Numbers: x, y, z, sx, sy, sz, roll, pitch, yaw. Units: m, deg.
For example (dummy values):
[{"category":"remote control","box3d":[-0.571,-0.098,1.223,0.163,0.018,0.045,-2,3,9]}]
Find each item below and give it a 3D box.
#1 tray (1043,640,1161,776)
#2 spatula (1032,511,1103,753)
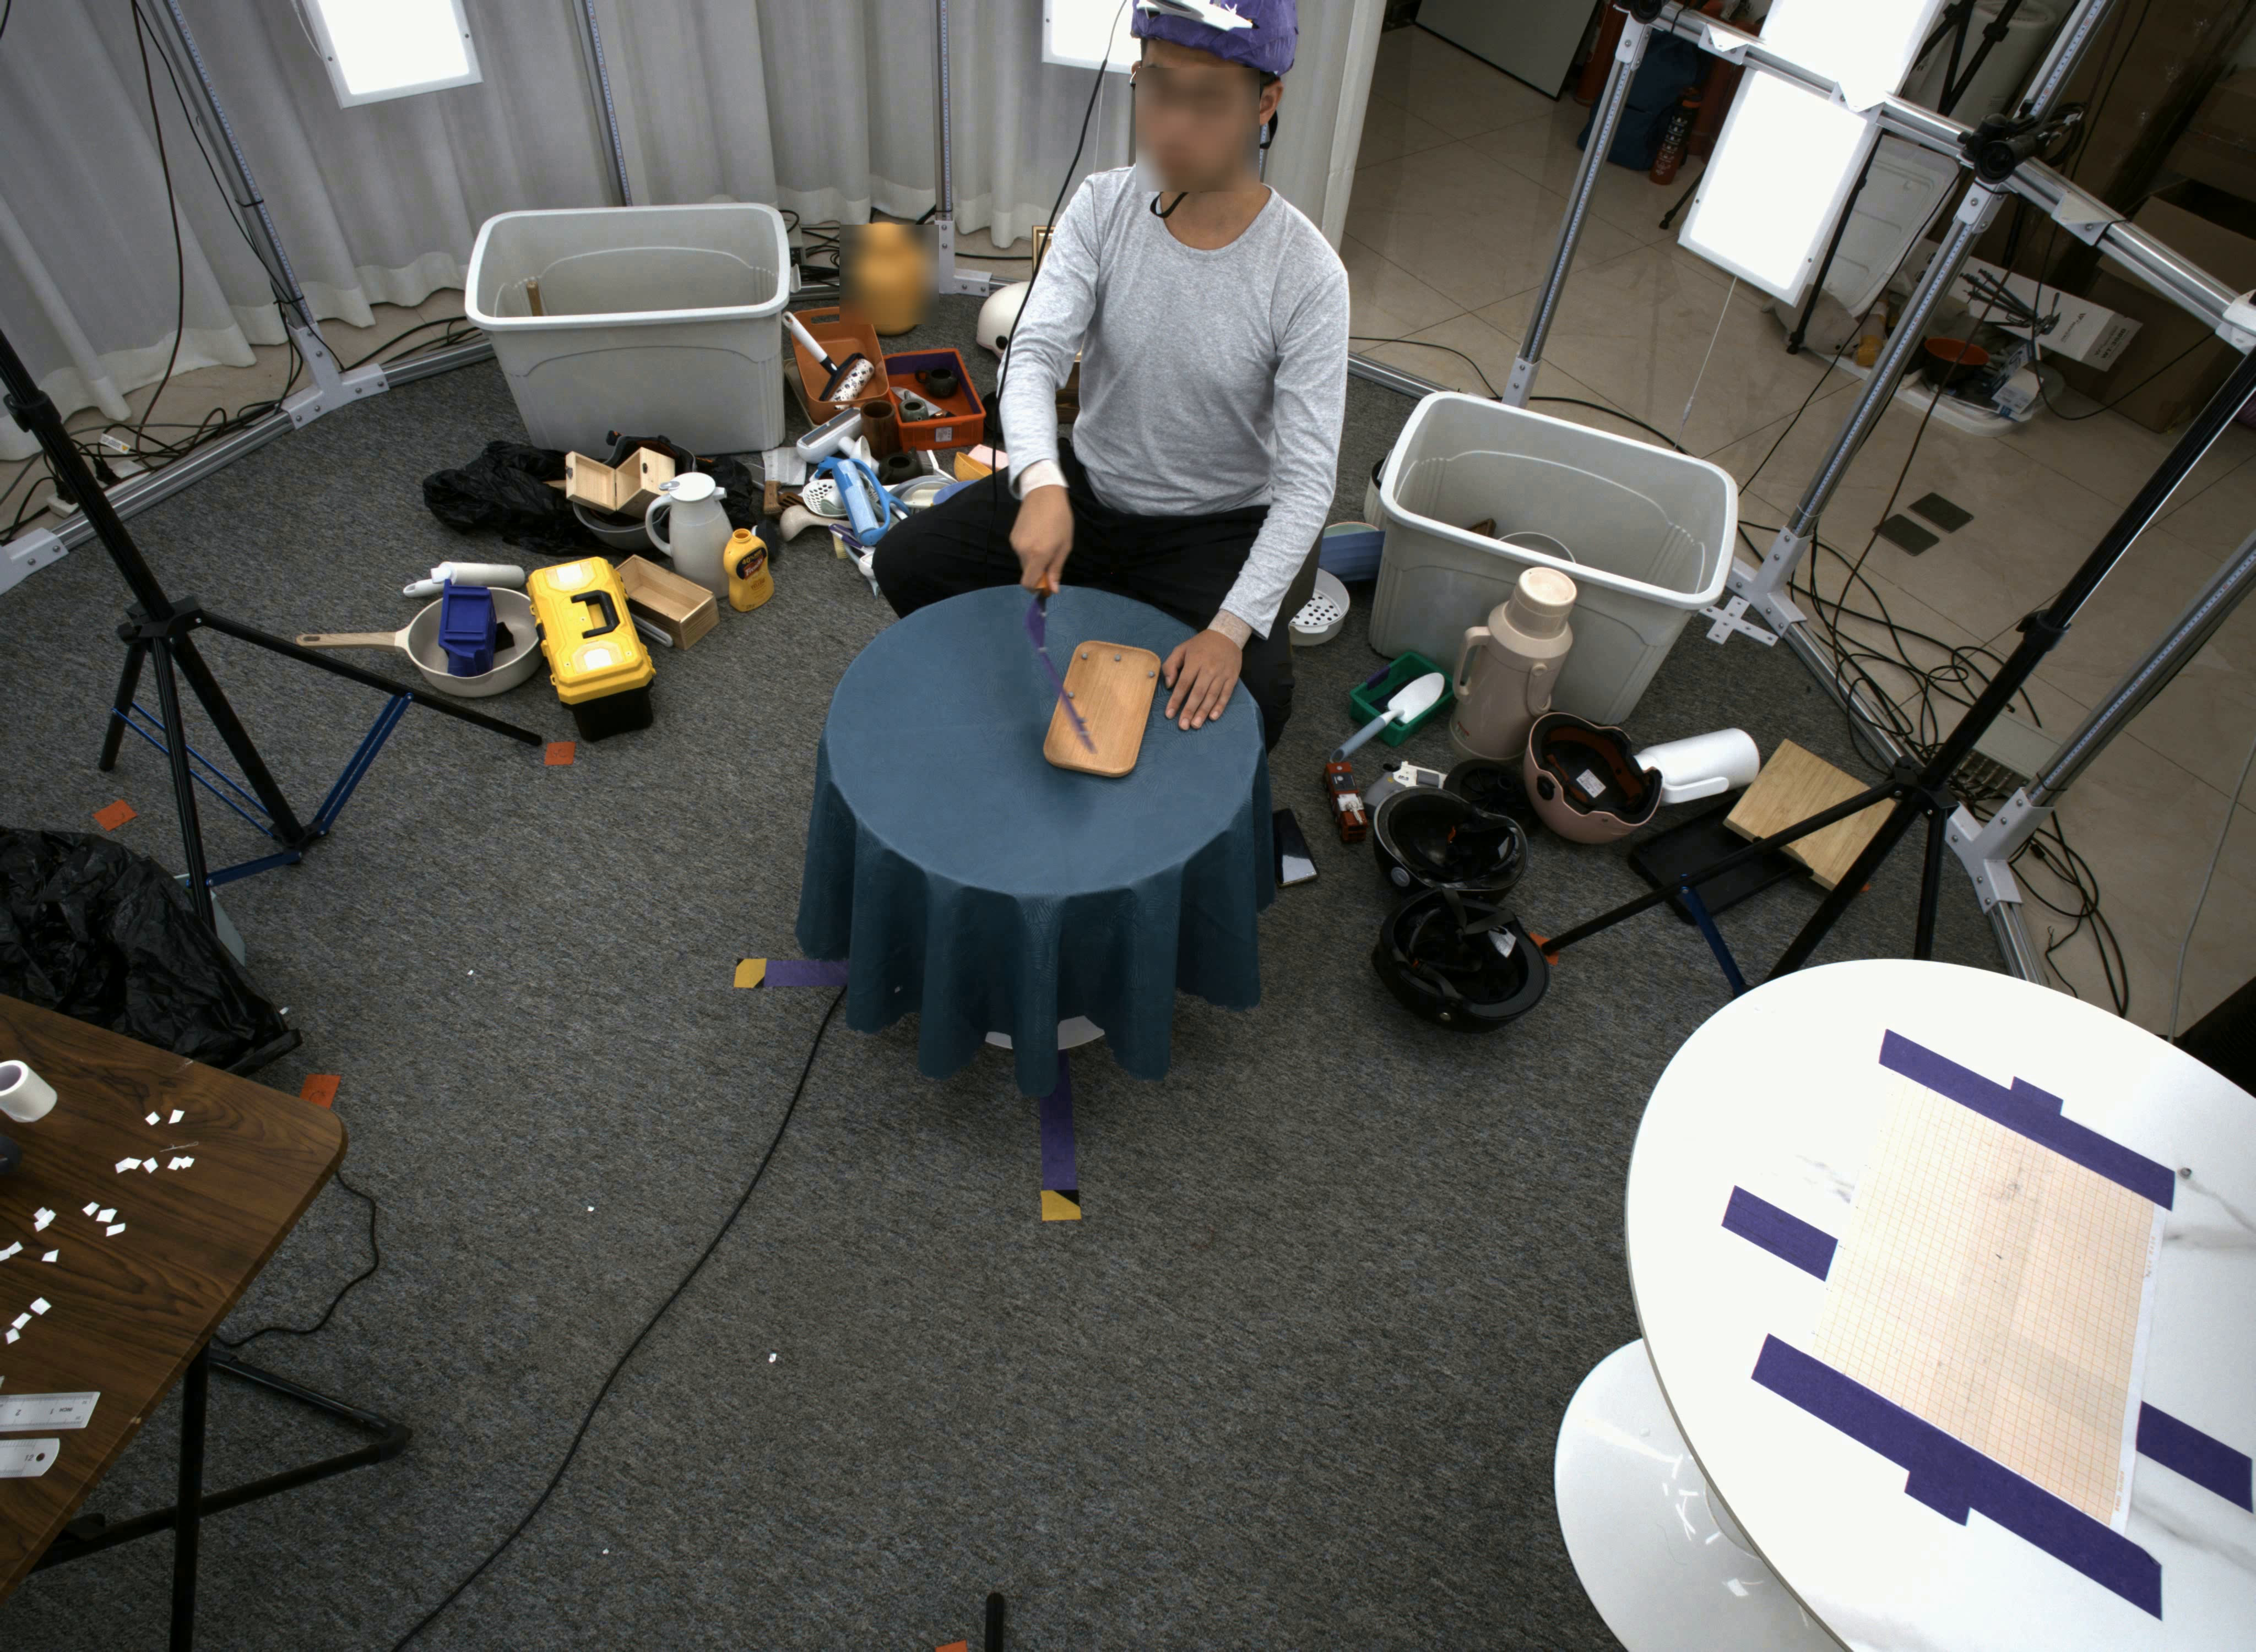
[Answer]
[{"category":"tray","box3d":[-0.034,-0.170,1.810,0.131,0.022,0.256,9,50,7]},{"category":"spatula","box3d":[-0.080,-0.267,1.734,0.087,0.074,0.365,-4,69,9]}]
